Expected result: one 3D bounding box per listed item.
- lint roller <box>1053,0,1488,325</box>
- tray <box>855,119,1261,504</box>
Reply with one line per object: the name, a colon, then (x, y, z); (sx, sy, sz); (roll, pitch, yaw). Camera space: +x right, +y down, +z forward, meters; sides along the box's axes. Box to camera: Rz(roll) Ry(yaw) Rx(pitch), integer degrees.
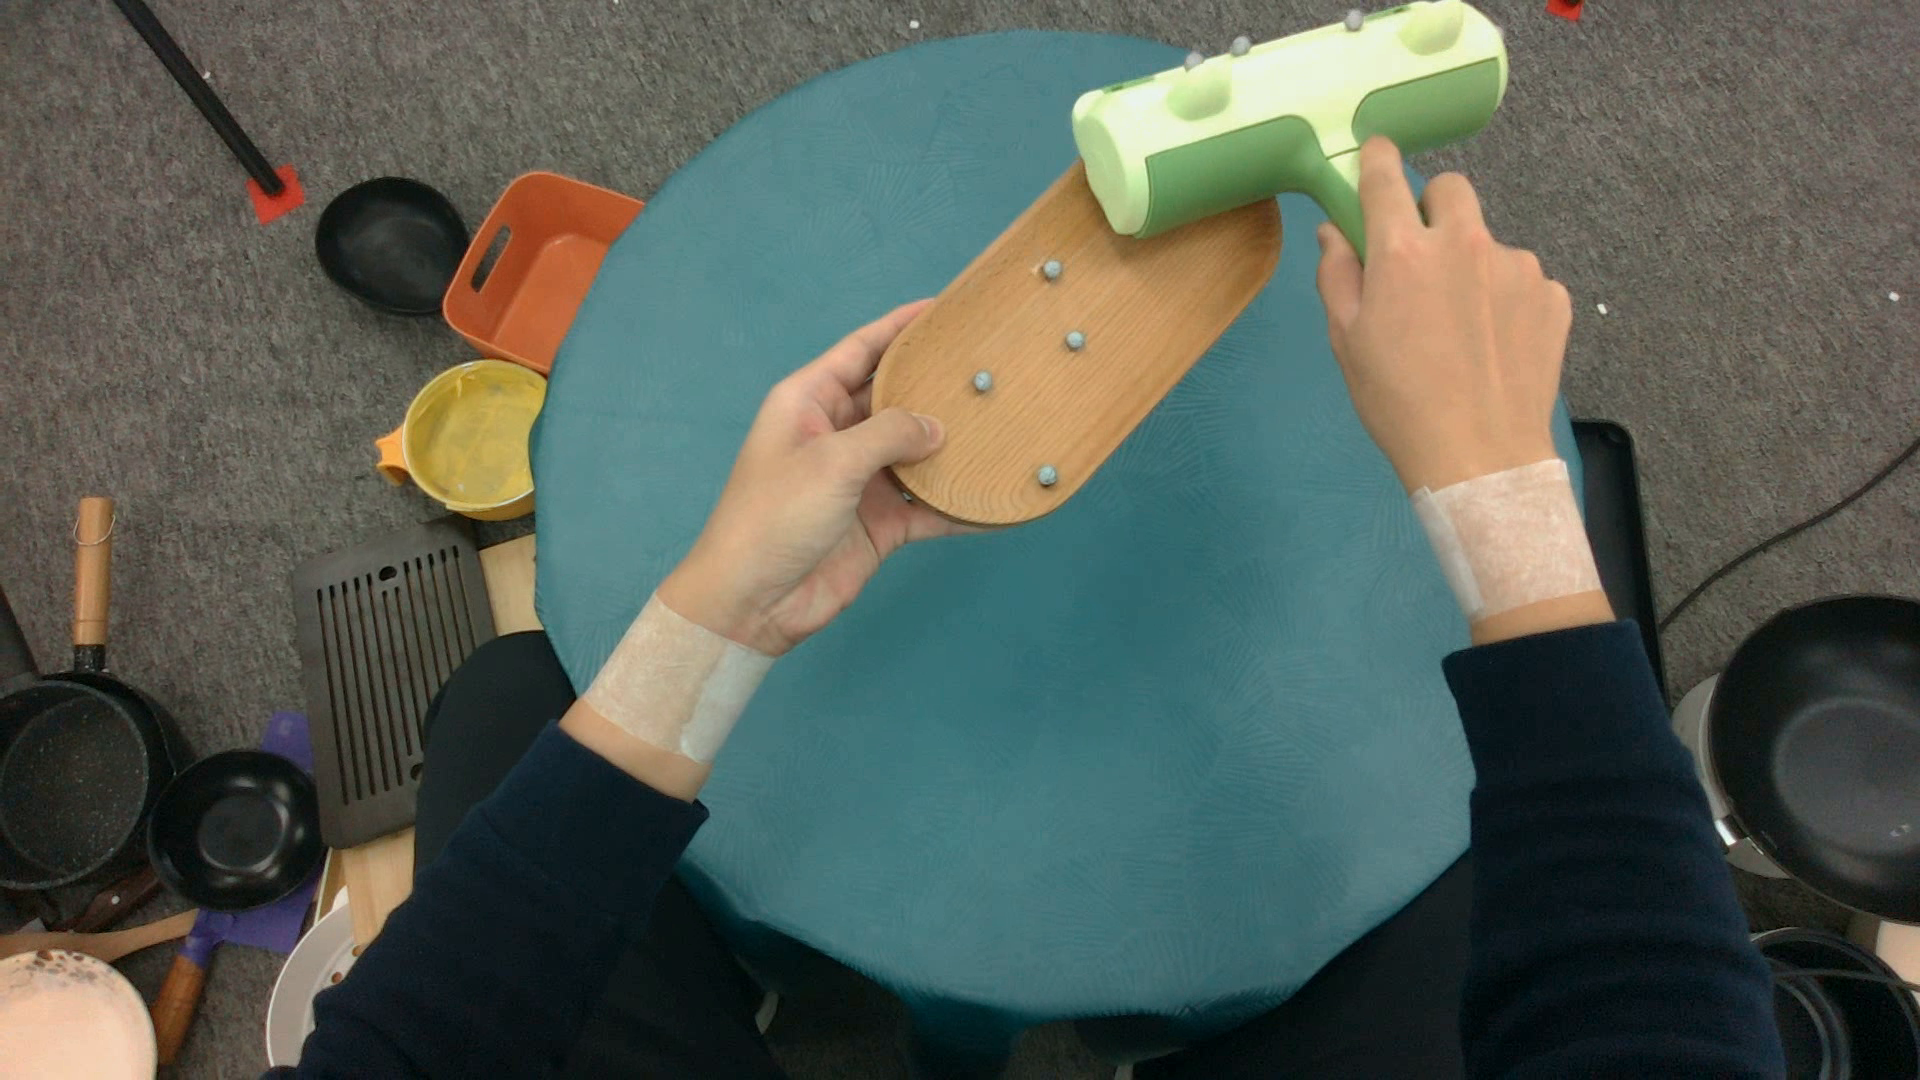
lint roller: (0.164, -0.171, 0.576); (0.199, 0.082, 0.184); (-21, 53, -16)
tray: (0.046, -0.109, 0.601); (0.101, 0.020, 0.232); (41, 68, 1)
